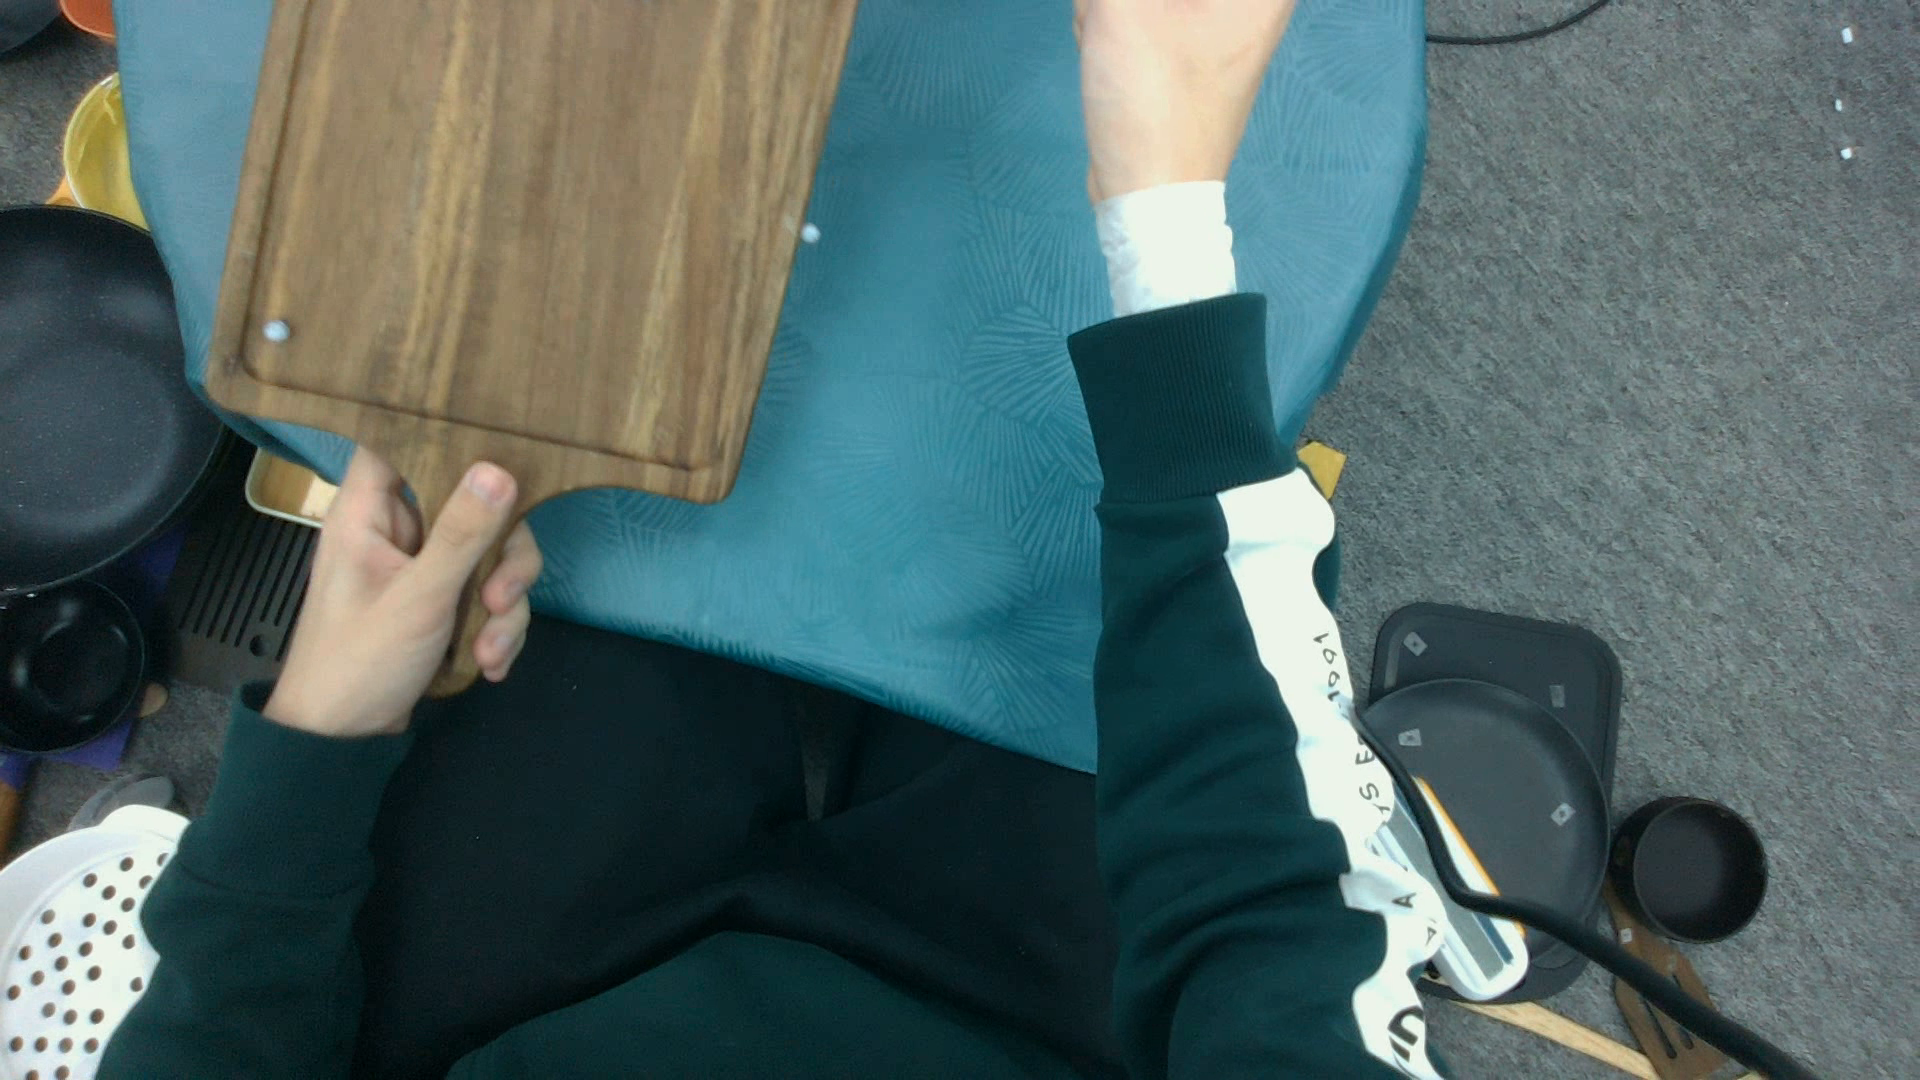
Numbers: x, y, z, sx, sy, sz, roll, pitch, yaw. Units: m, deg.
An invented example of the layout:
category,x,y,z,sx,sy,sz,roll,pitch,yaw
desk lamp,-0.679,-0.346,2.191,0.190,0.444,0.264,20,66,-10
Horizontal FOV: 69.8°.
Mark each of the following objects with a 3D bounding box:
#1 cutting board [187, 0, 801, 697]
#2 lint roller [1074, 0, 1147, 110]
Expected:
category,x,y,z,sx,sy,sz,roll,pitch,yaw
cutting board,-0.179,-0.109,0.526,0.201,0.023,0.351,8,100,-18
lint roller,0.036,-0.250,0.488,0.230,0.067,0.180,-28,95,-40
